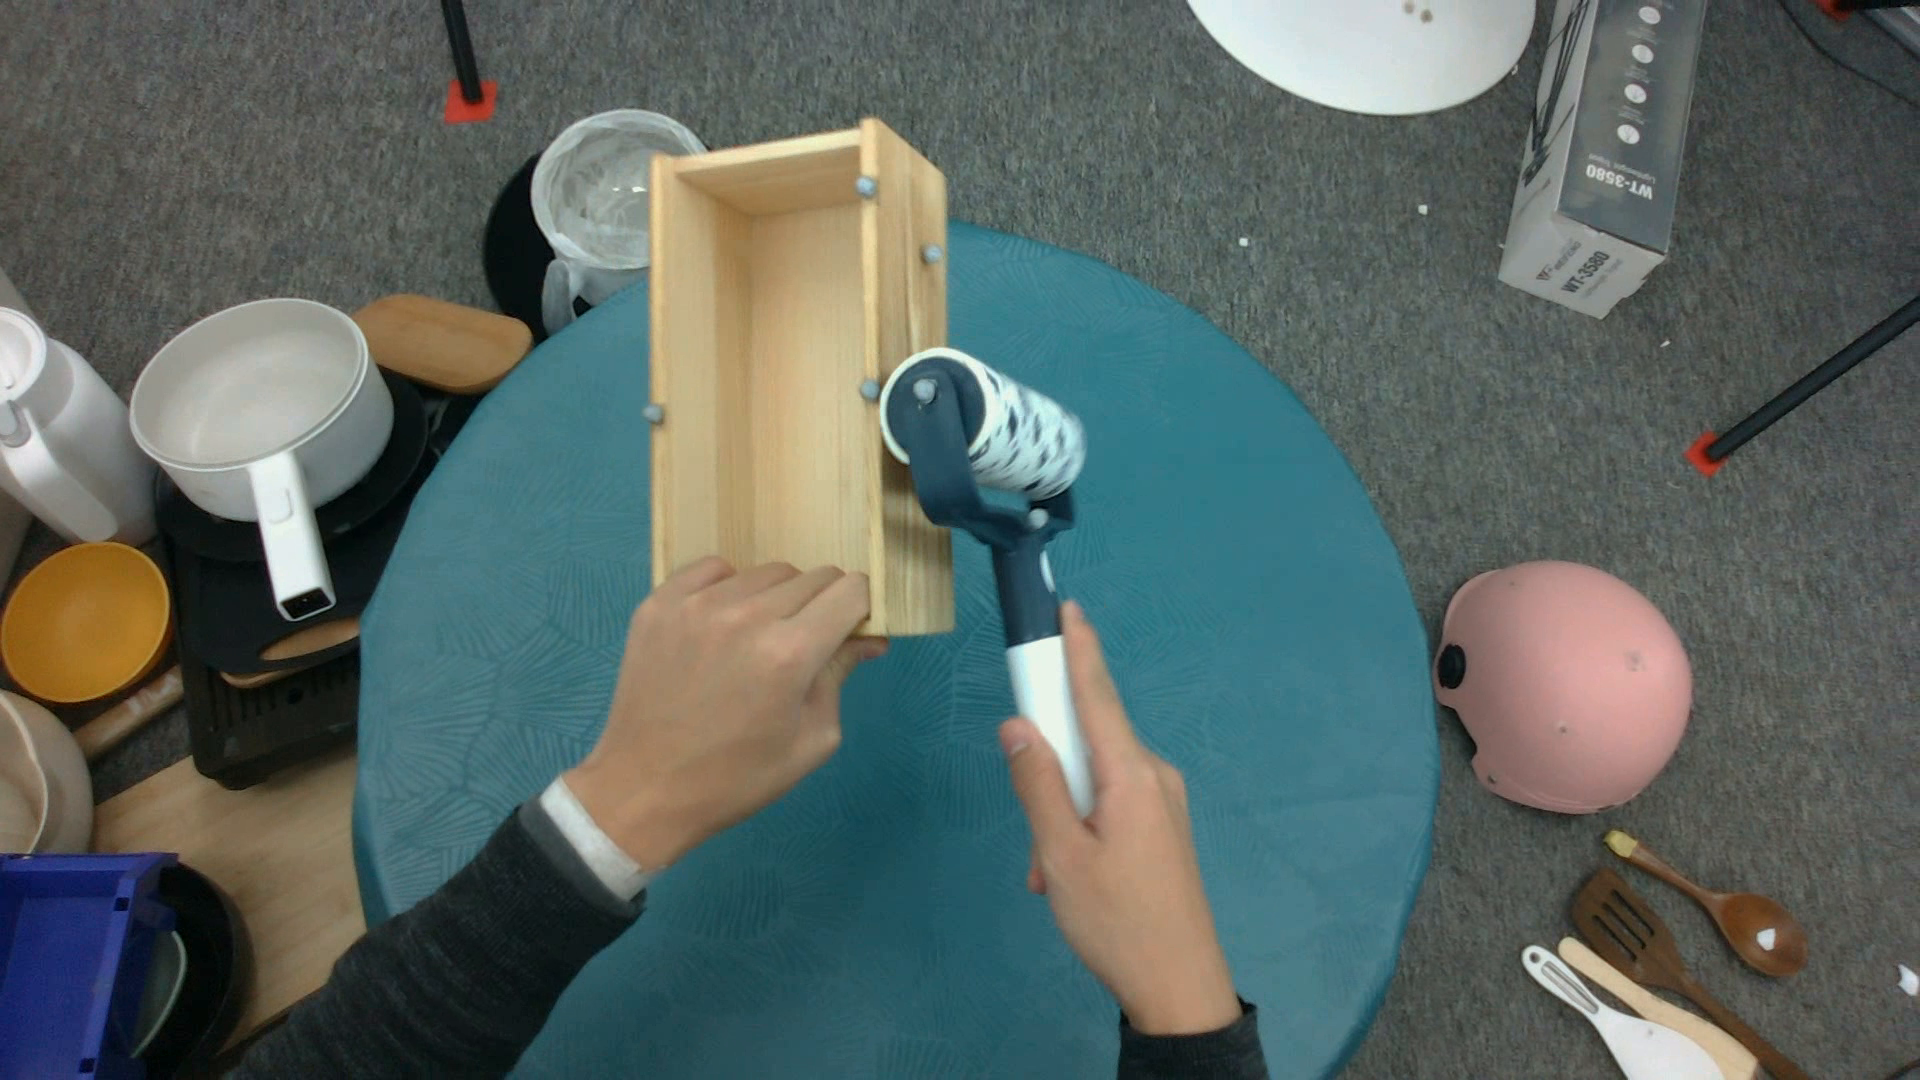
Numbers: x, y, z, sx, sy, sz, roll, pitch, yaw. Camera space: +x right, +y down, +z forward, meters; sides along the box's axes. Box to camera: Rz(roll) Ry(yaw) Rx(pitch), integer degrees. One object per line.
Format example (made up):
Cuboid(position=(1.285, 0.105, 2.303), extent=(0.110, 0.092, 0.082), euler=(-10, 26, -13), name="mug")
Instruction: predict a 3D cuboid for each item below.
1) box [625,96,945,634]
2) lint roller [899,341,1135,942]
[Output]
Cuboid(position=(-0.075, -0.068, 0.597), extent=(0.107, 0.080, 0.211), euler=(-5, 85, 19), name="box")
Cuboid(position=(0.040, 0.046, 0.592), extent=(0.050, 0.176, 0.247), euler=(-17, 84, 10), name="lint roller")
